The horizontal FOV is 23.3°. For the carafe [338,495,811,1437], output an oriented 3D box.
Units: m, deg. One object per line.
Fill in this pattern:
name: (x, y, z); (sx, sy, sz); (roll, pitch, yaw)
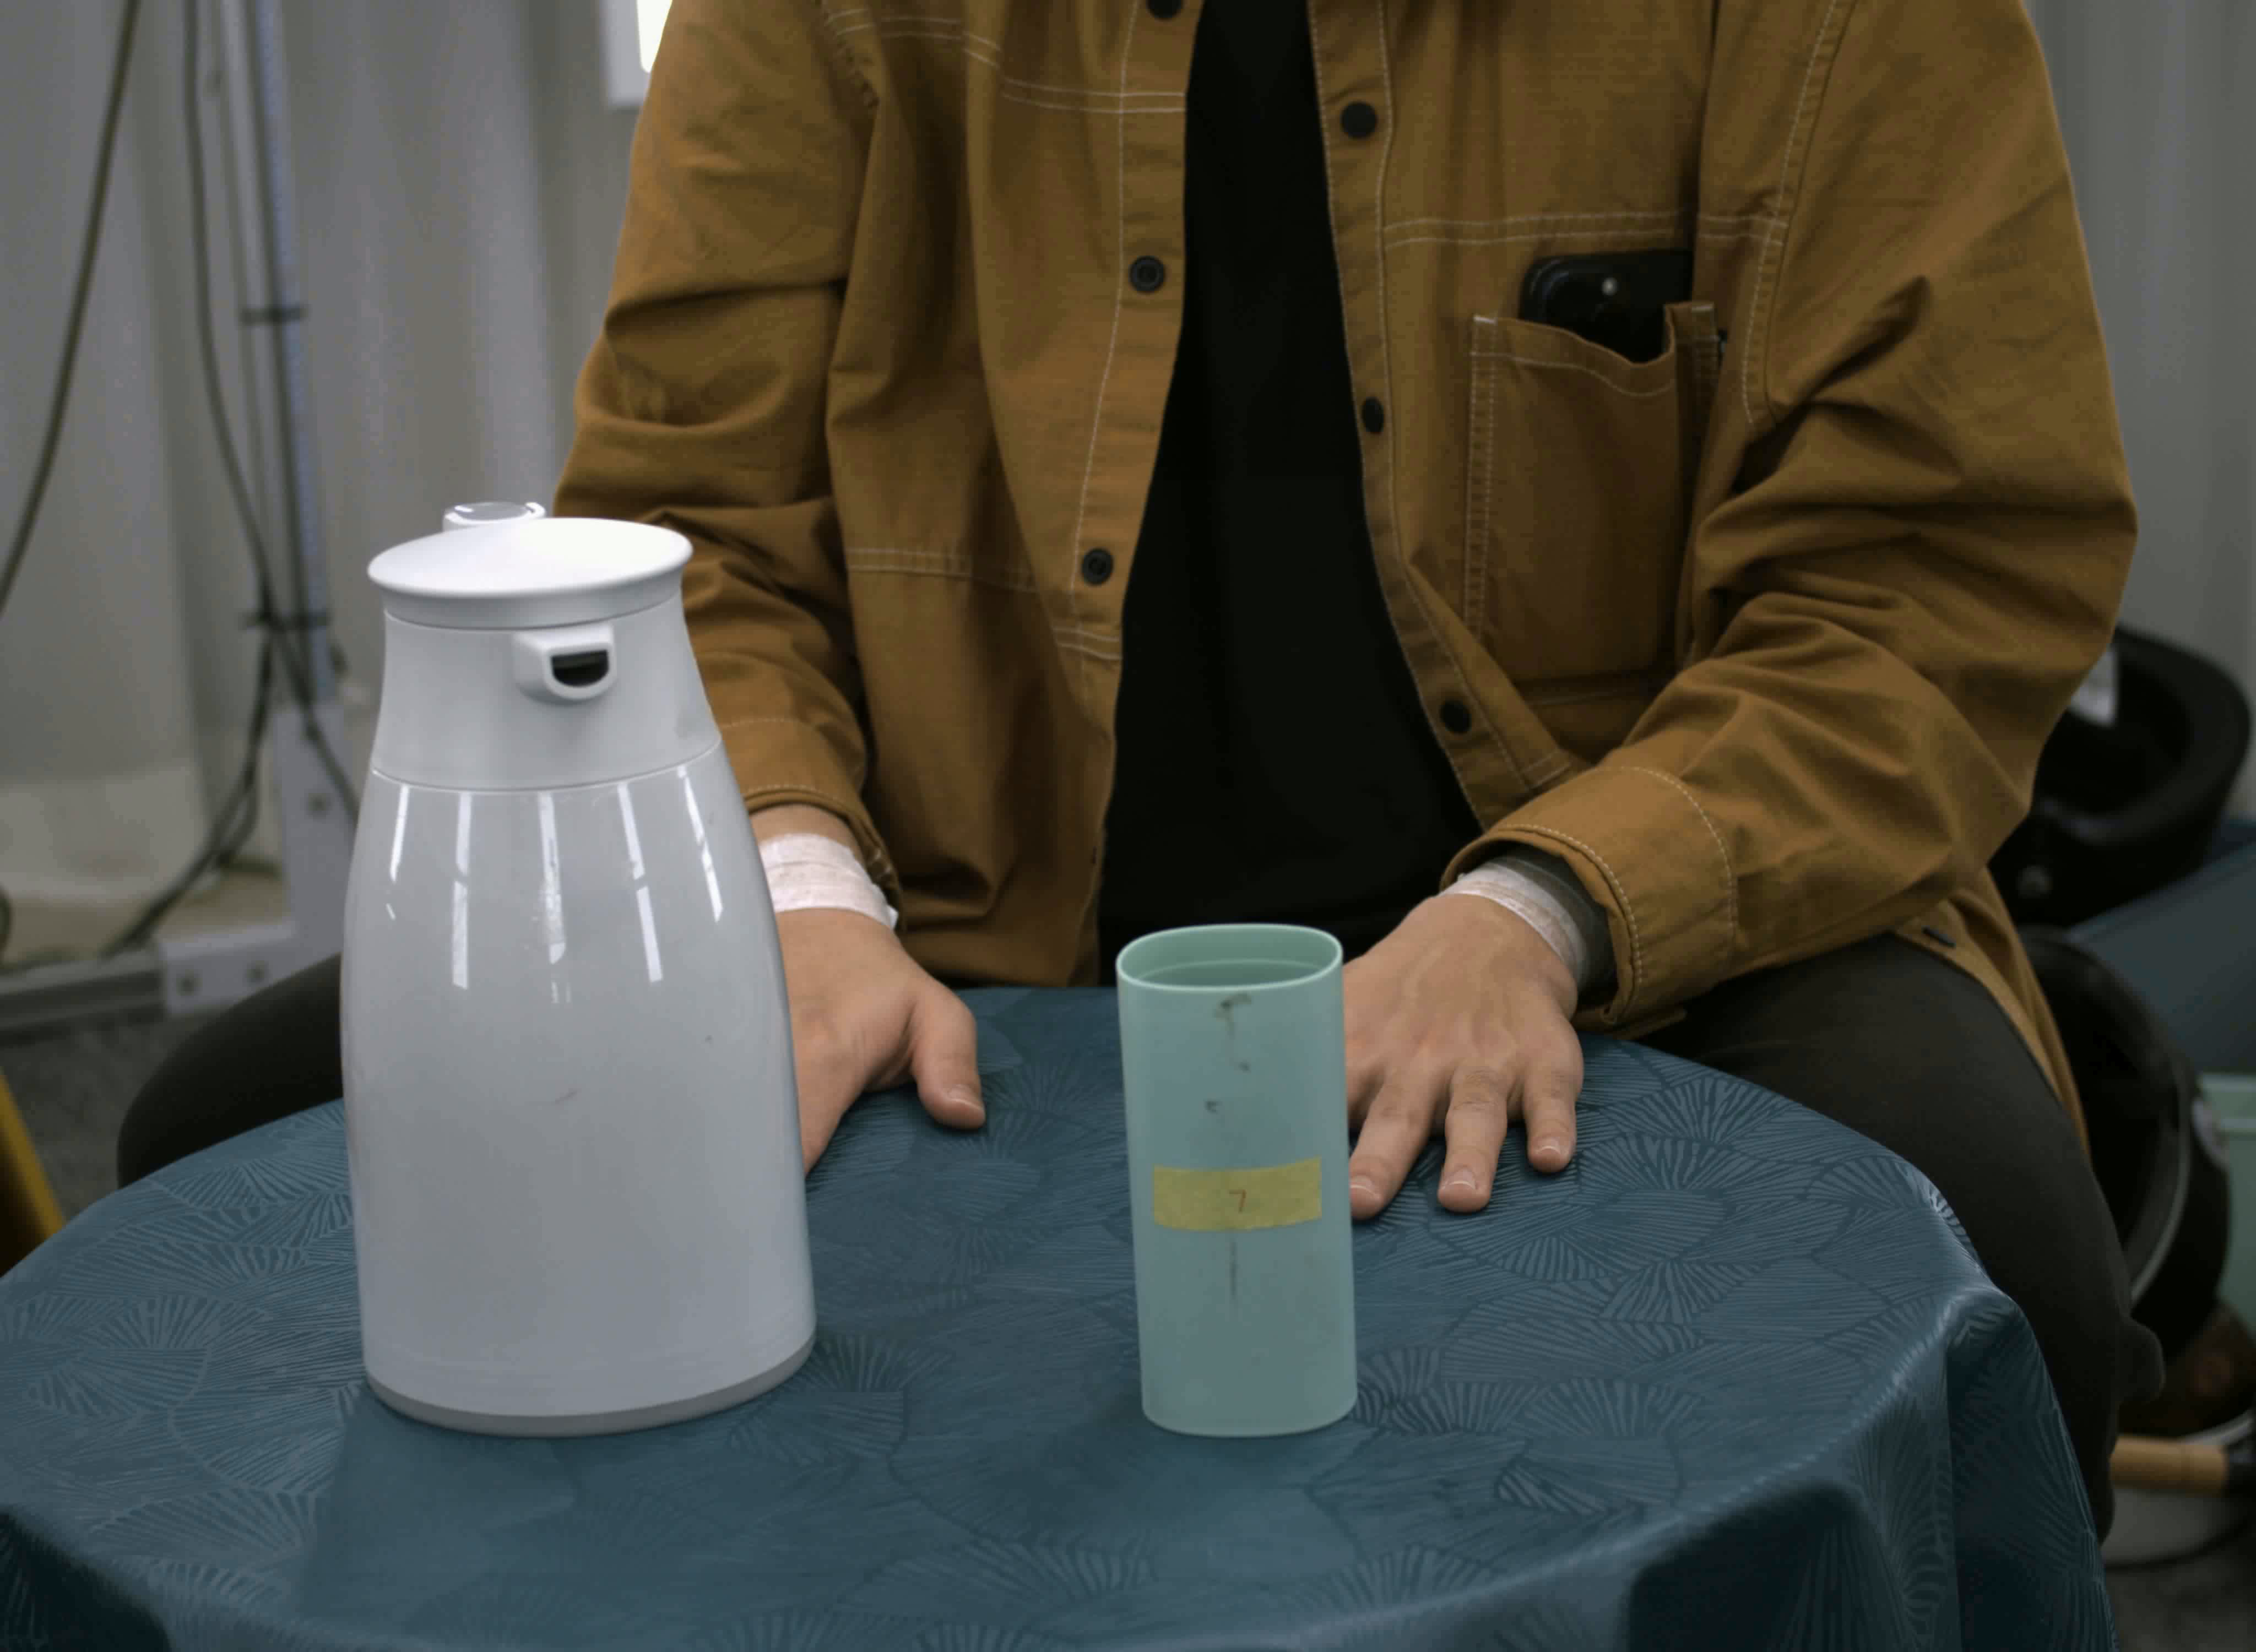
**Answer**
carafe: (-0.170, 0.031, 1.582); (0.132, 0.248, 0.169); (-7, 14, -17)

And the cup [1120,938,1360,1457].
cup: (0.032, 0.102, 1.517); (0.066, 0.132, 0.067); (-3, 14, 0)
